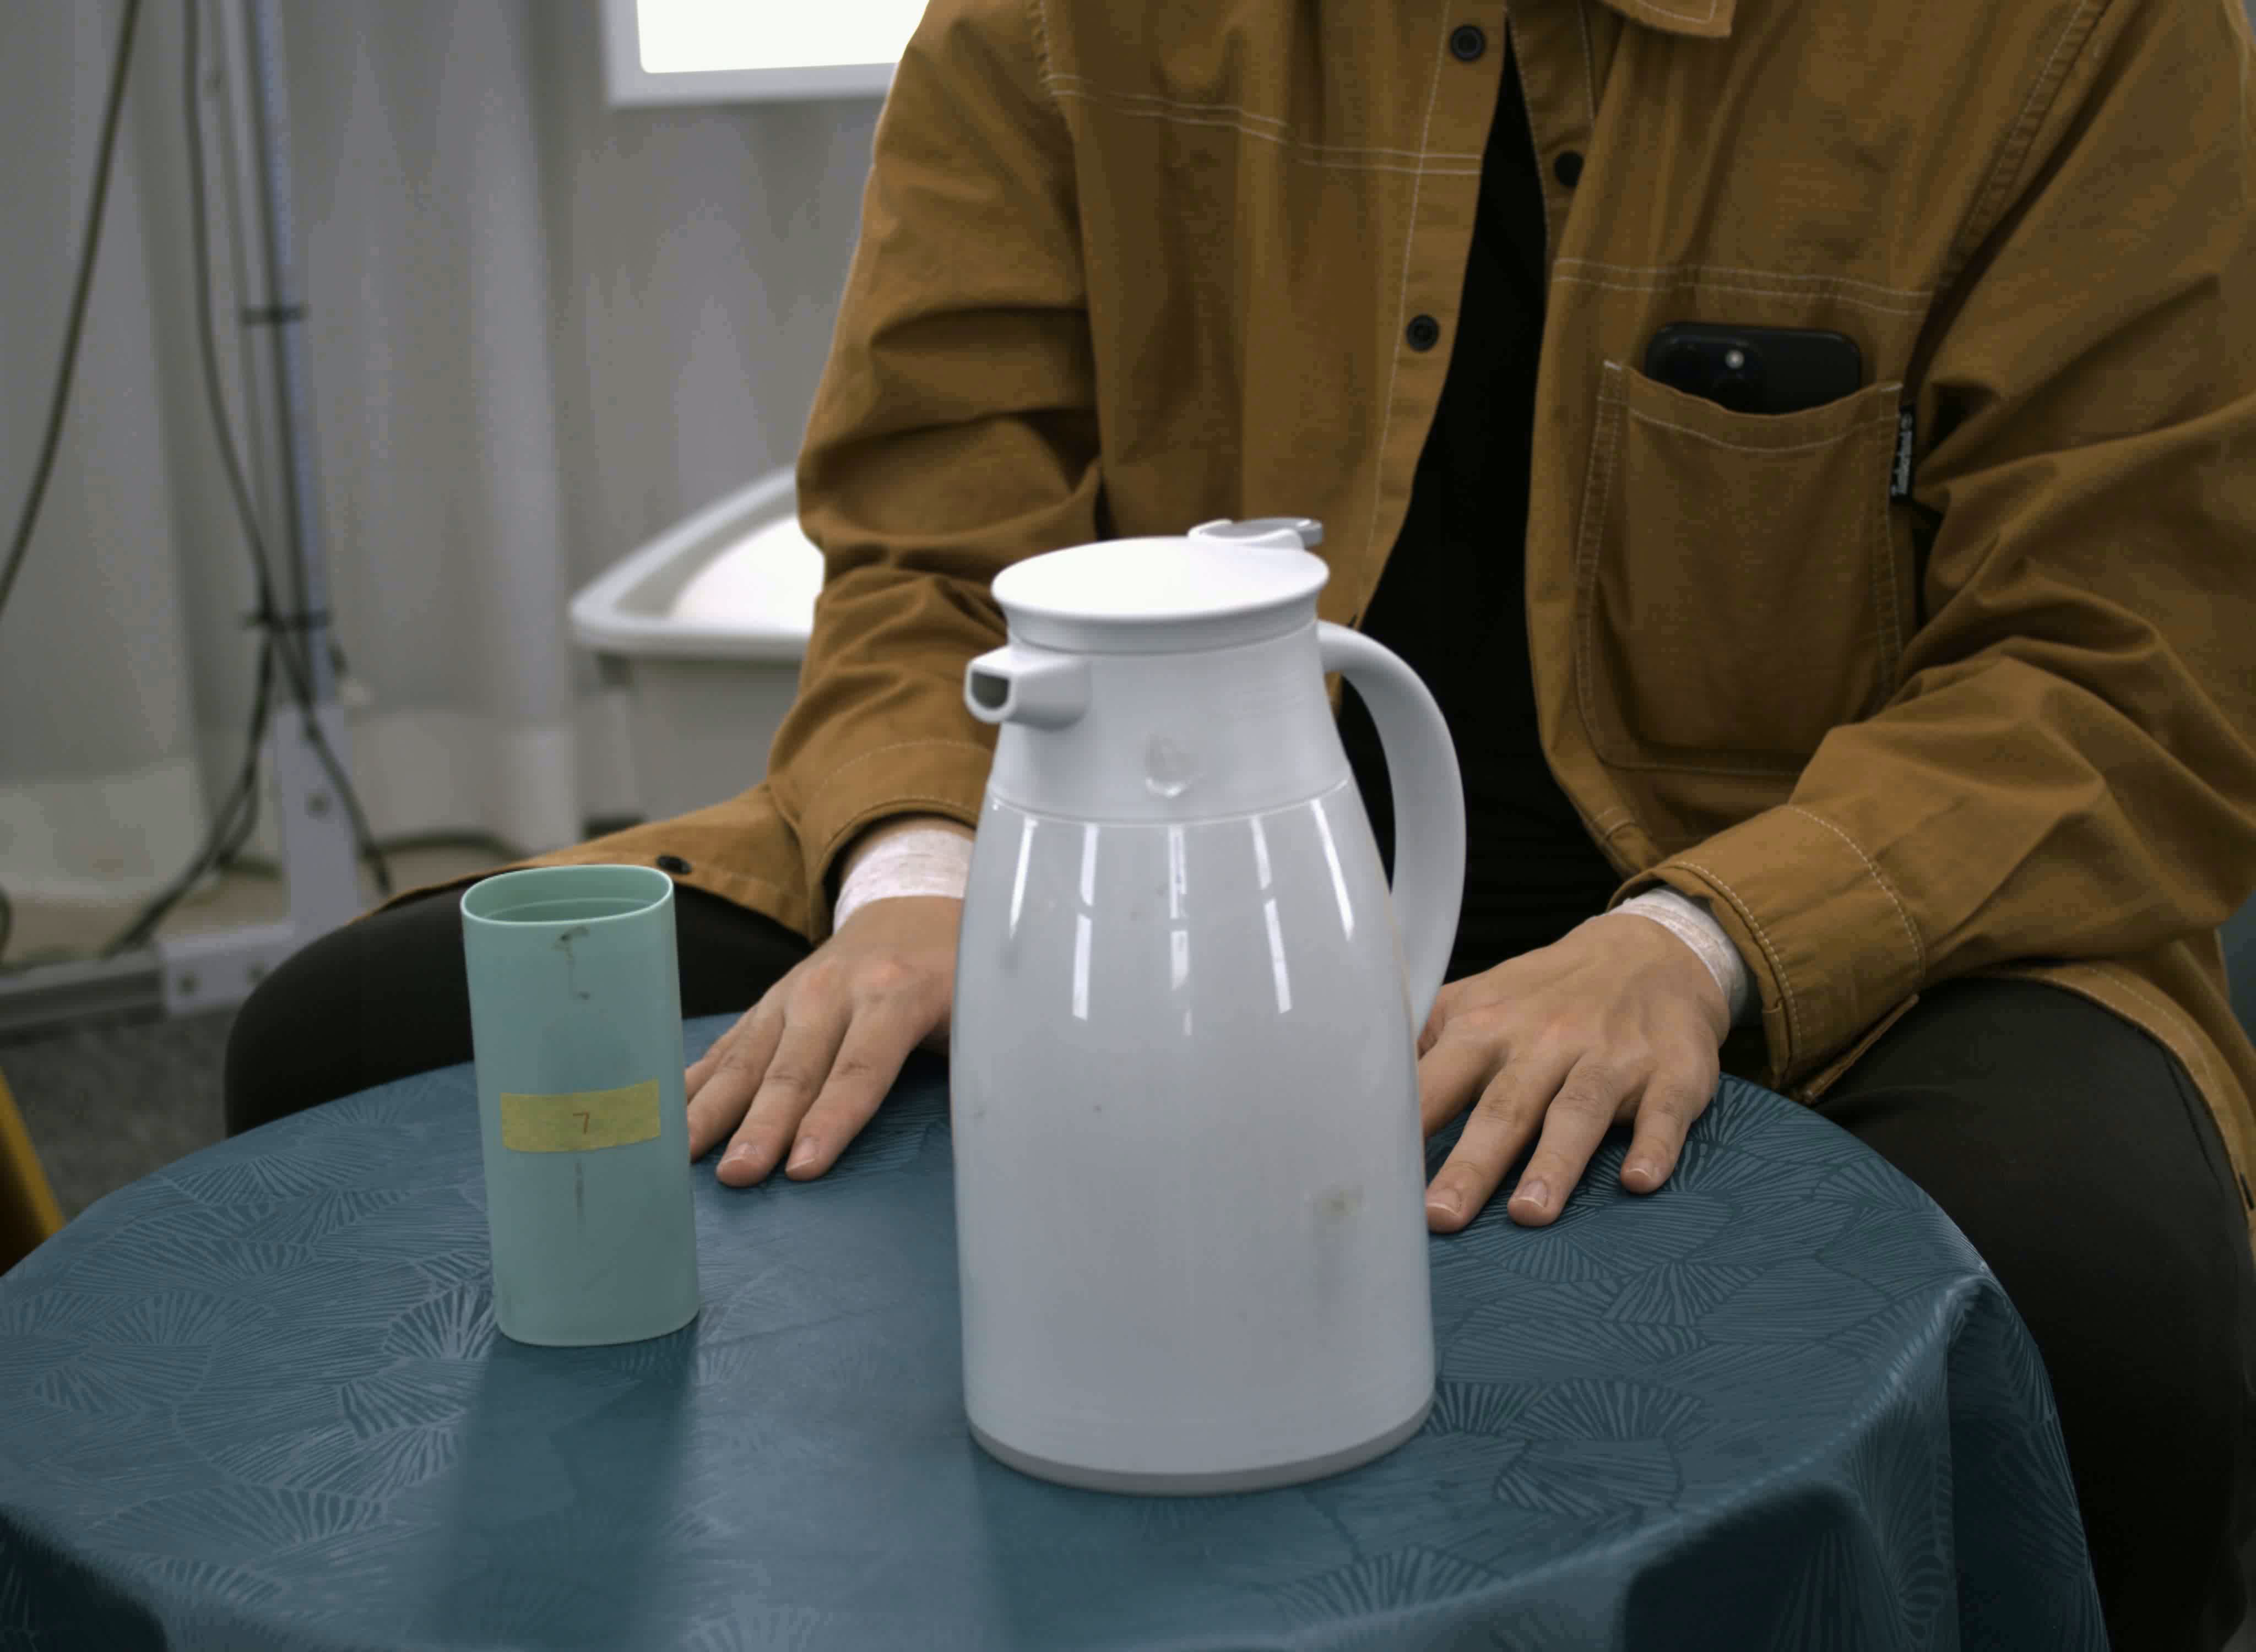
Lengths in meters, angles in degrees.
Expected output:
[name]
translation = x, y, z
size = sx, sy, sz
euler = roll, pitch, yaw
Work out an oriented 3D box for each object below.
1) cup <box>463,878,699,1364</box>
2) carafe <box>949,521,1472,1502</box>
[cup]
translation = -0.160, 0.086, 1.615
size = 0.066, 0.132, 0.067
euler = -2, 14, 0
[carafe]
translation = 0.028, 0.042, 1.511
size = 0.167, 0.247, 0.133
euler = -13, 18, -40
